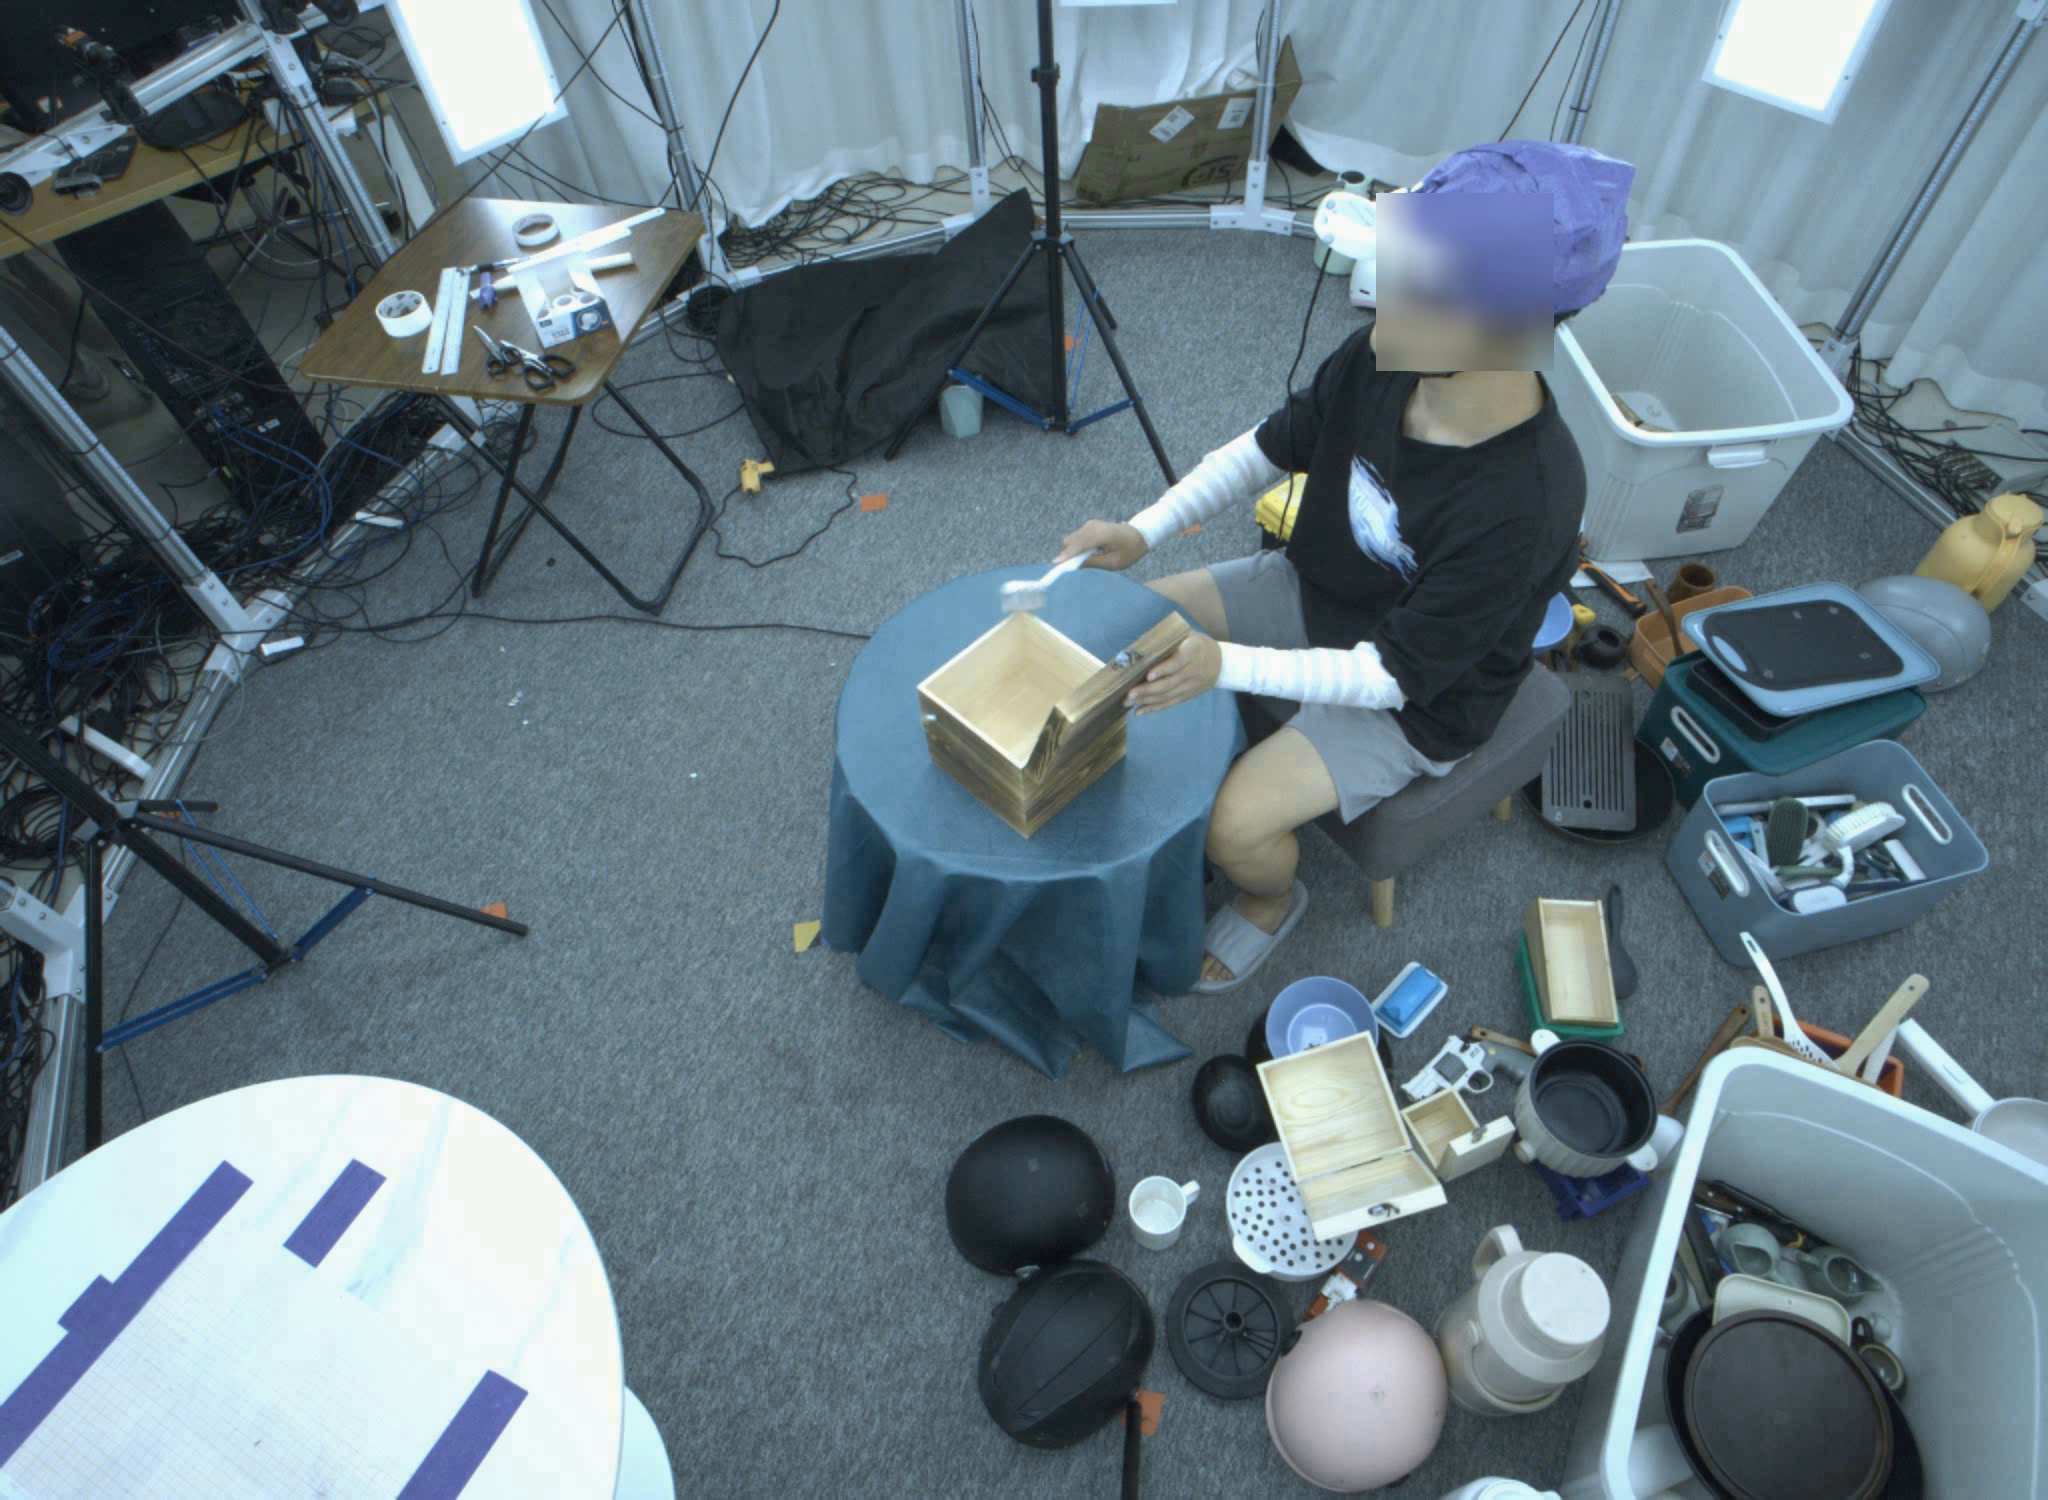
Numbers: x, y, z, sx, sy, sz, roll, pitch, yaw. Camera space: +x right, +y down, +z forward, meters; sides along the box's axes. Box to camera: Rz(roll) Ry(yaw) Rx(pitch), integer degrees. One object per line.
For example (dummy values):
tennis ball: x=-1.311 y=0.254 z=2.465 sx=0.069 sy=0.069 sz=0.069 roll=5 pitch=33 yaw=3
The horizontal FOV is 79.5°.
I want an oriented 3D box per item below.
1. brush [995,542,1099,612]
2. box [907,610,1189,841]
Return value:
brush: x=0.041 y=-0.244 z=1.745 sx=0.034 sy=0.050 sz=0.246 roll=-12 pitch=15 yaw=42
box: x=0.023 y=-0.067 z=1.608 sx=0.316 sy=0.379 sz=0.210 roll=38 pitch=63 yaw=24
